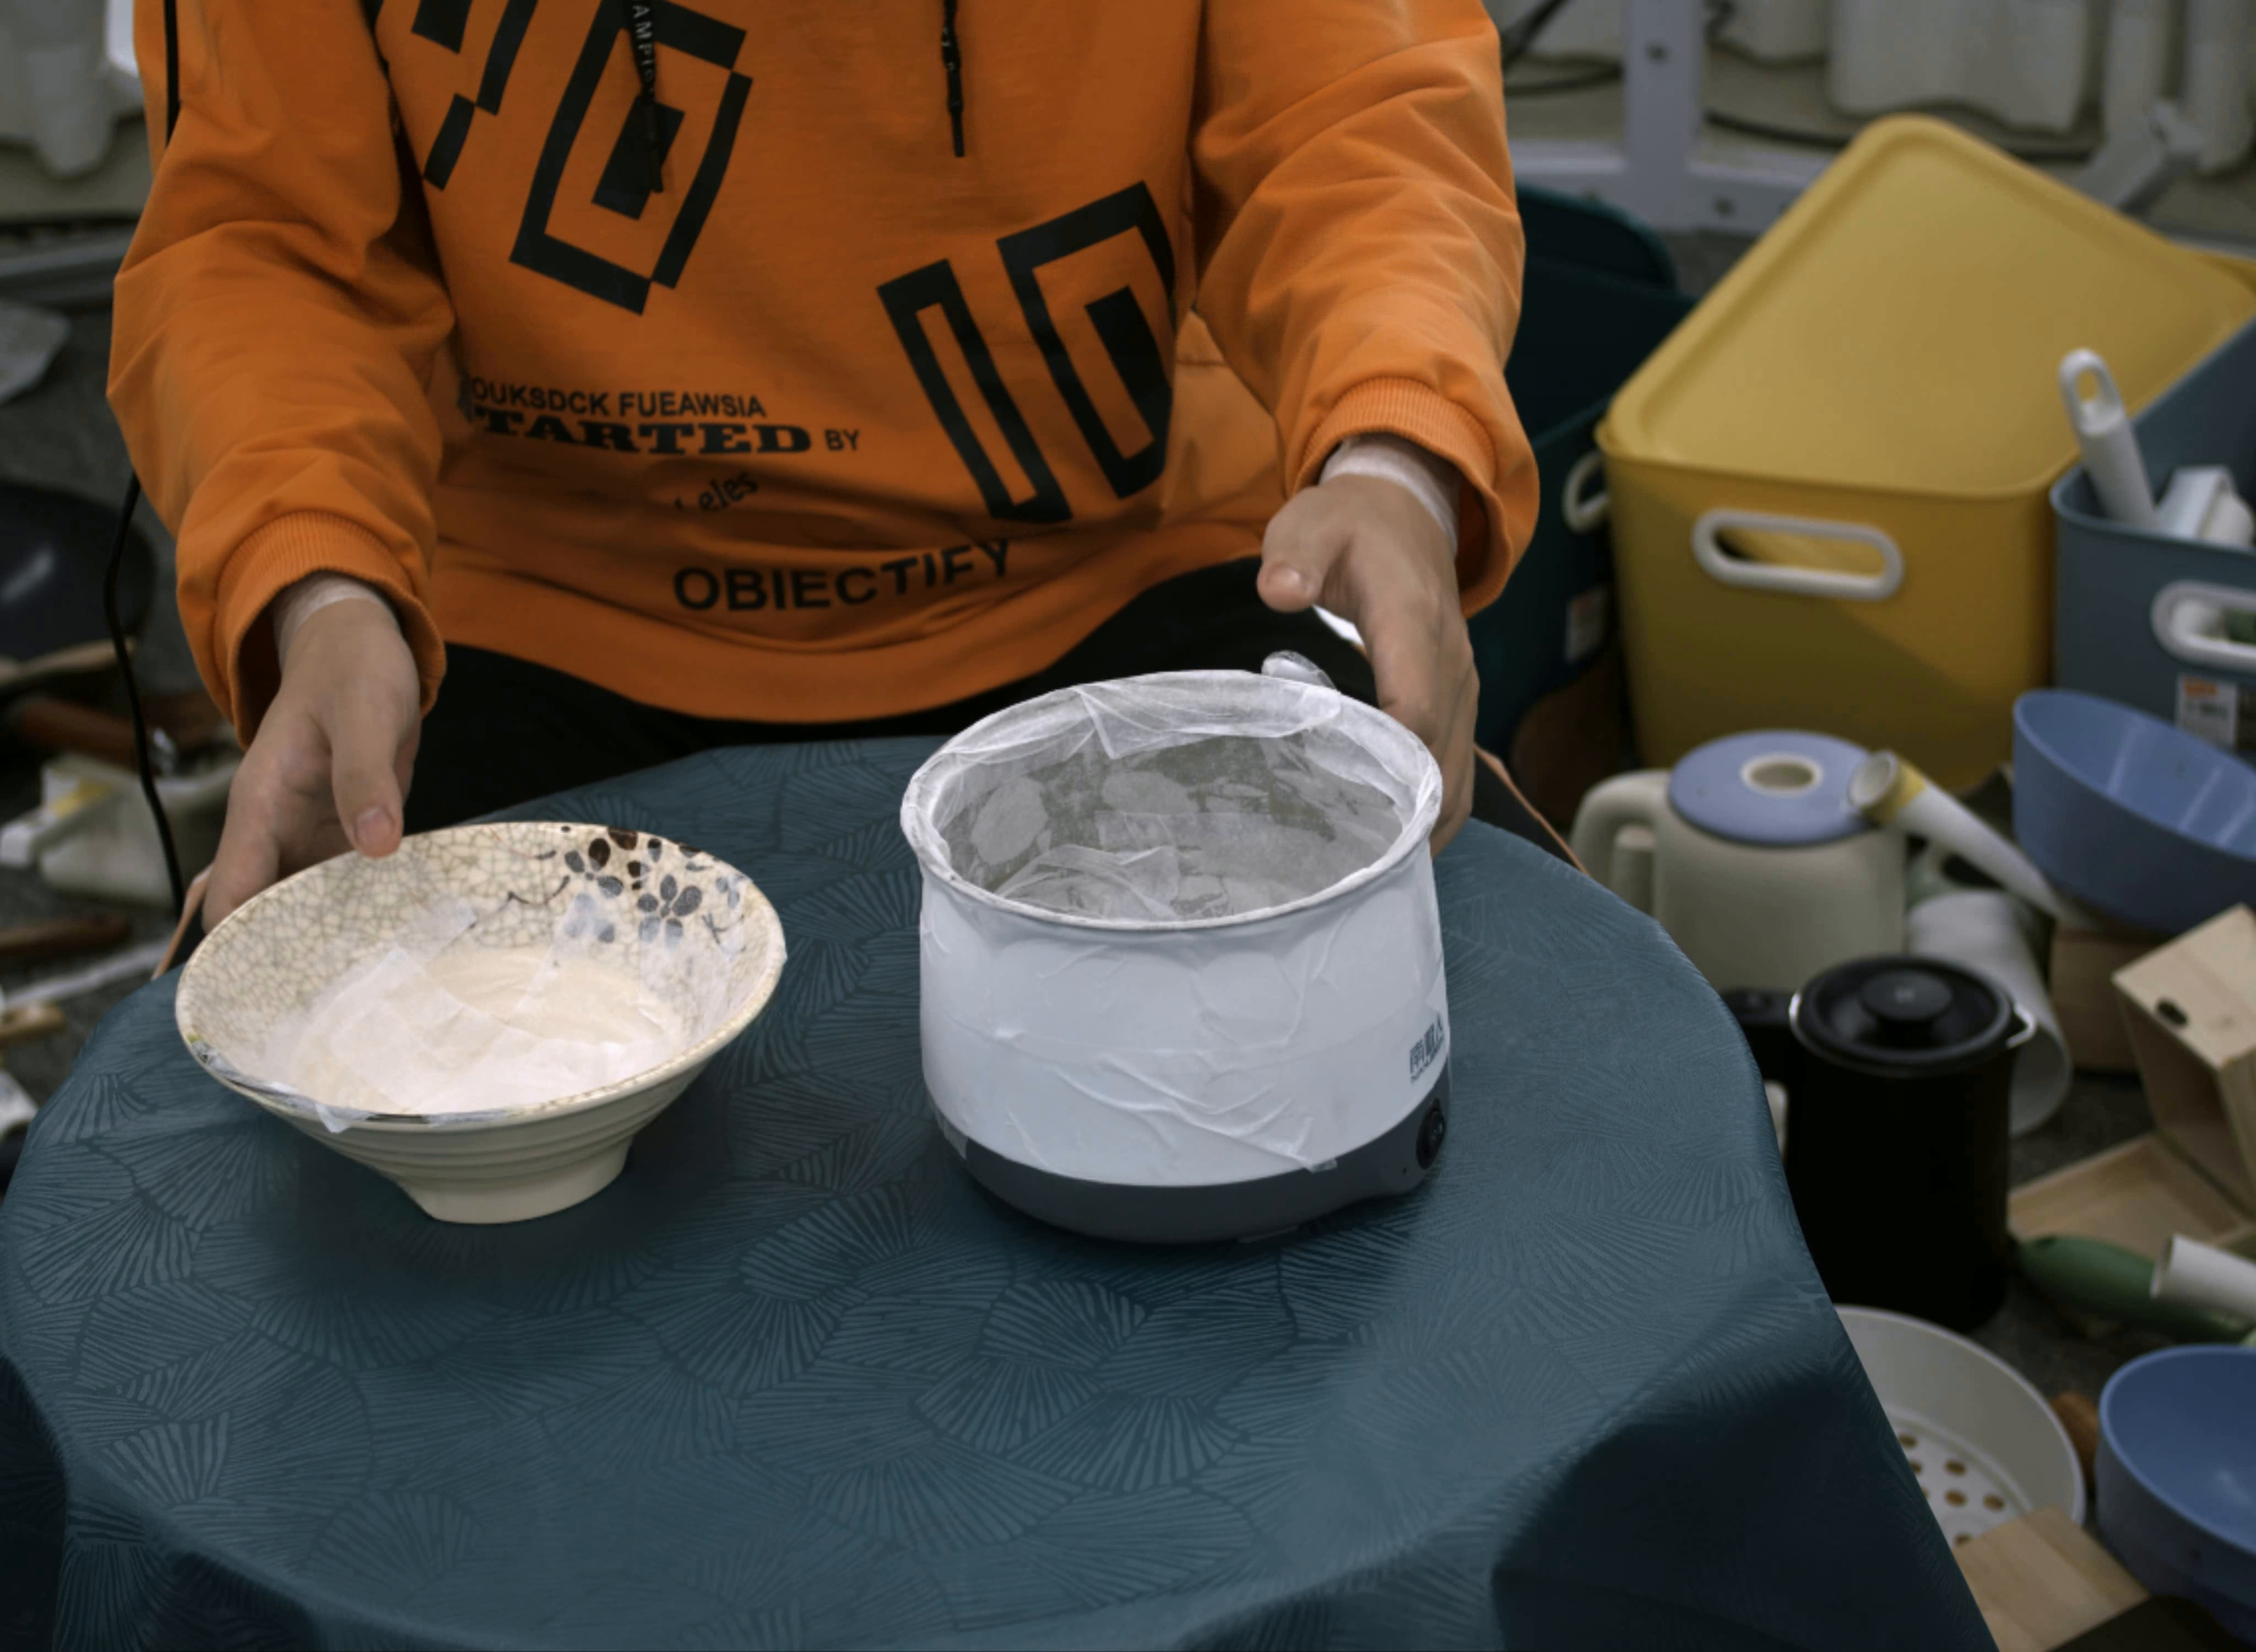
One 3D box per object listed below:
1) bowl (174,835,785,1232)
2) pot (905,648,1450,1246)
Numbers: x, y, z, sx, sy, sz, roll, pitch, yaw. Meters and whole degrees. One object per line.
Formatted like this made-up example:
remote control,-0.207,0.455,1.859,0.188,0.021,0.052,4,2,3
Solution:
bowl,-0.213,0.081,1.881,0.203,0.077,0.207,-3,25,2
pot,0.028,0.033,1.883,0.177,0.135,0.238,8,30,20
